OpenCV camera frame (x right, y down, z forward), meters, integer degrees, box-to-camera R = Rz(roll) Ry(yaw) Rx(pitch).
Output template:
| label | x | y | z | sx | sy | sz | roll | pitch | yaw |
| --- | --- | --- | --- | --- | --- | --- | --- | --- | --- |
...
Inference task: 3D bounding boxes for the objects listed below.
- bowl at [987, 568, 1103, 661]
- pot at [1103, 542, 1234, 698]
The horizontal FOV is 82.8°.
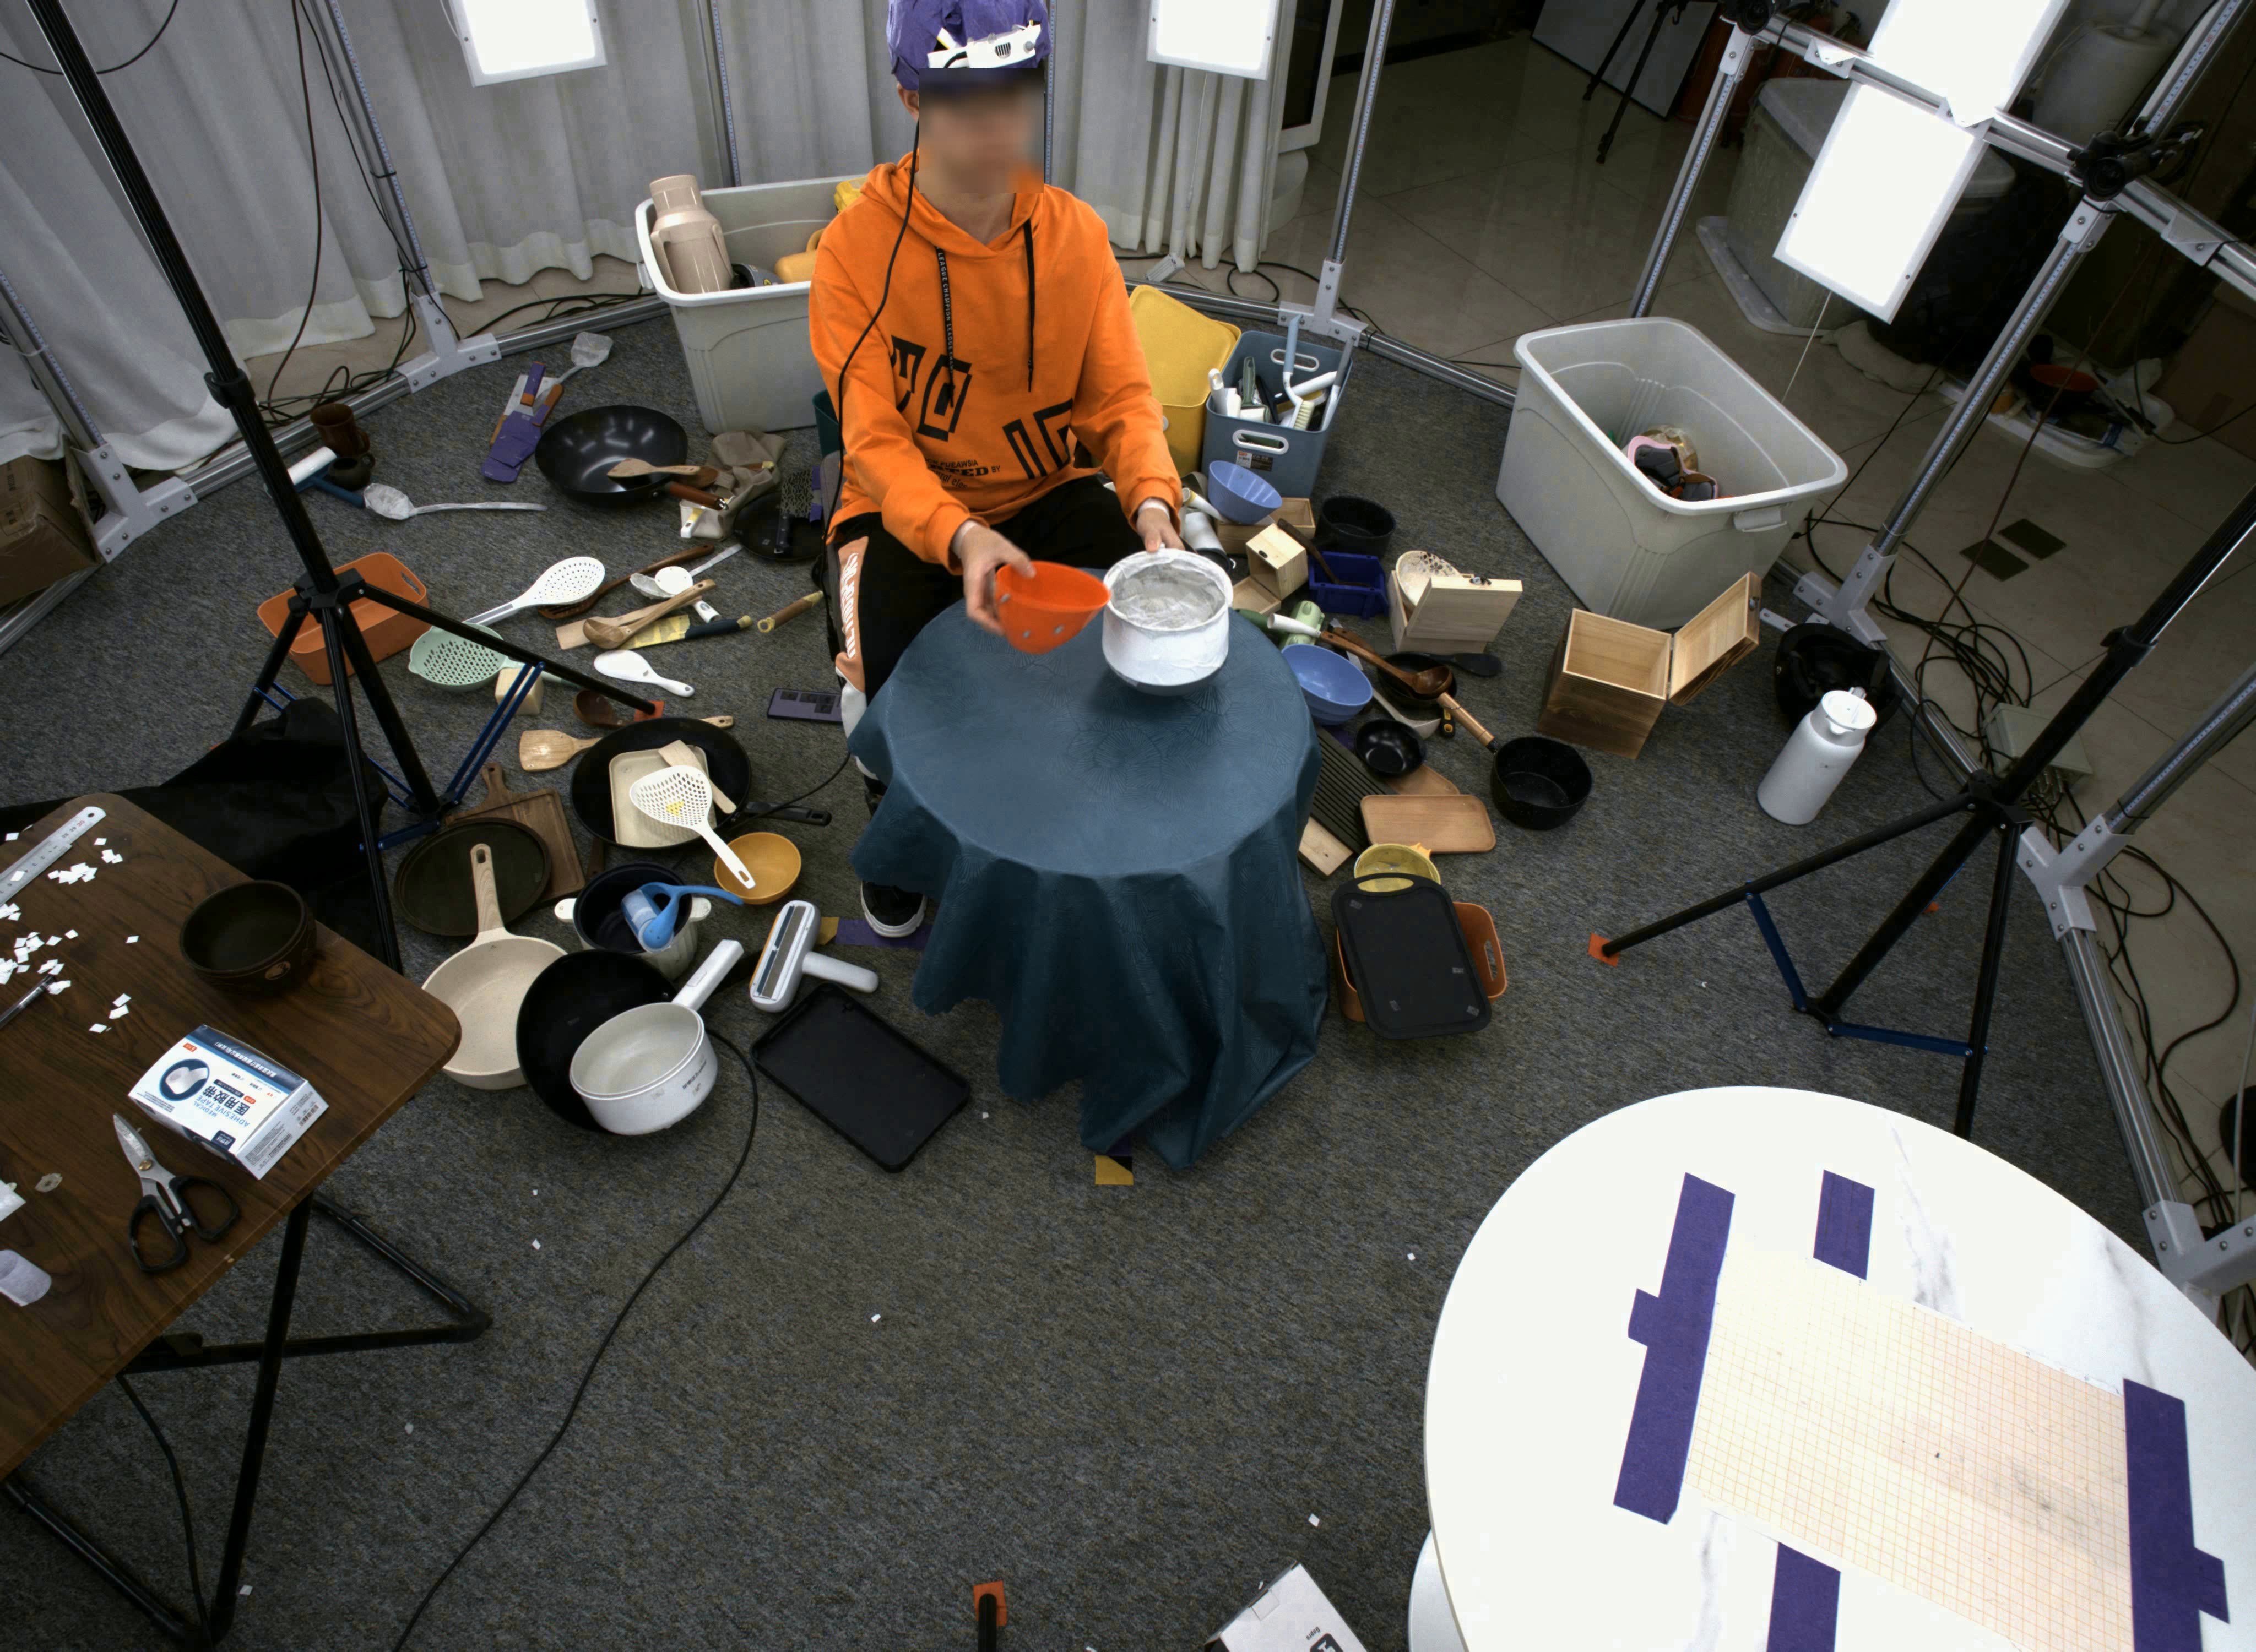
| label | x | y | z | sx | sy | sz | roll | pitch | yaw |
| --- | --- | --- | --- | --- | --- | --- | --- | --- | --- |
| bowl | -0.115 | -0.267 | 1.658 | 0.147 | 0.102 | 0.151 | 12 | 38 | -9 |
| pot | 0.050 | -0.297 | 1.798 | 0.178 | 0.133 | 0.240 | -5 | 48 | -6 |
